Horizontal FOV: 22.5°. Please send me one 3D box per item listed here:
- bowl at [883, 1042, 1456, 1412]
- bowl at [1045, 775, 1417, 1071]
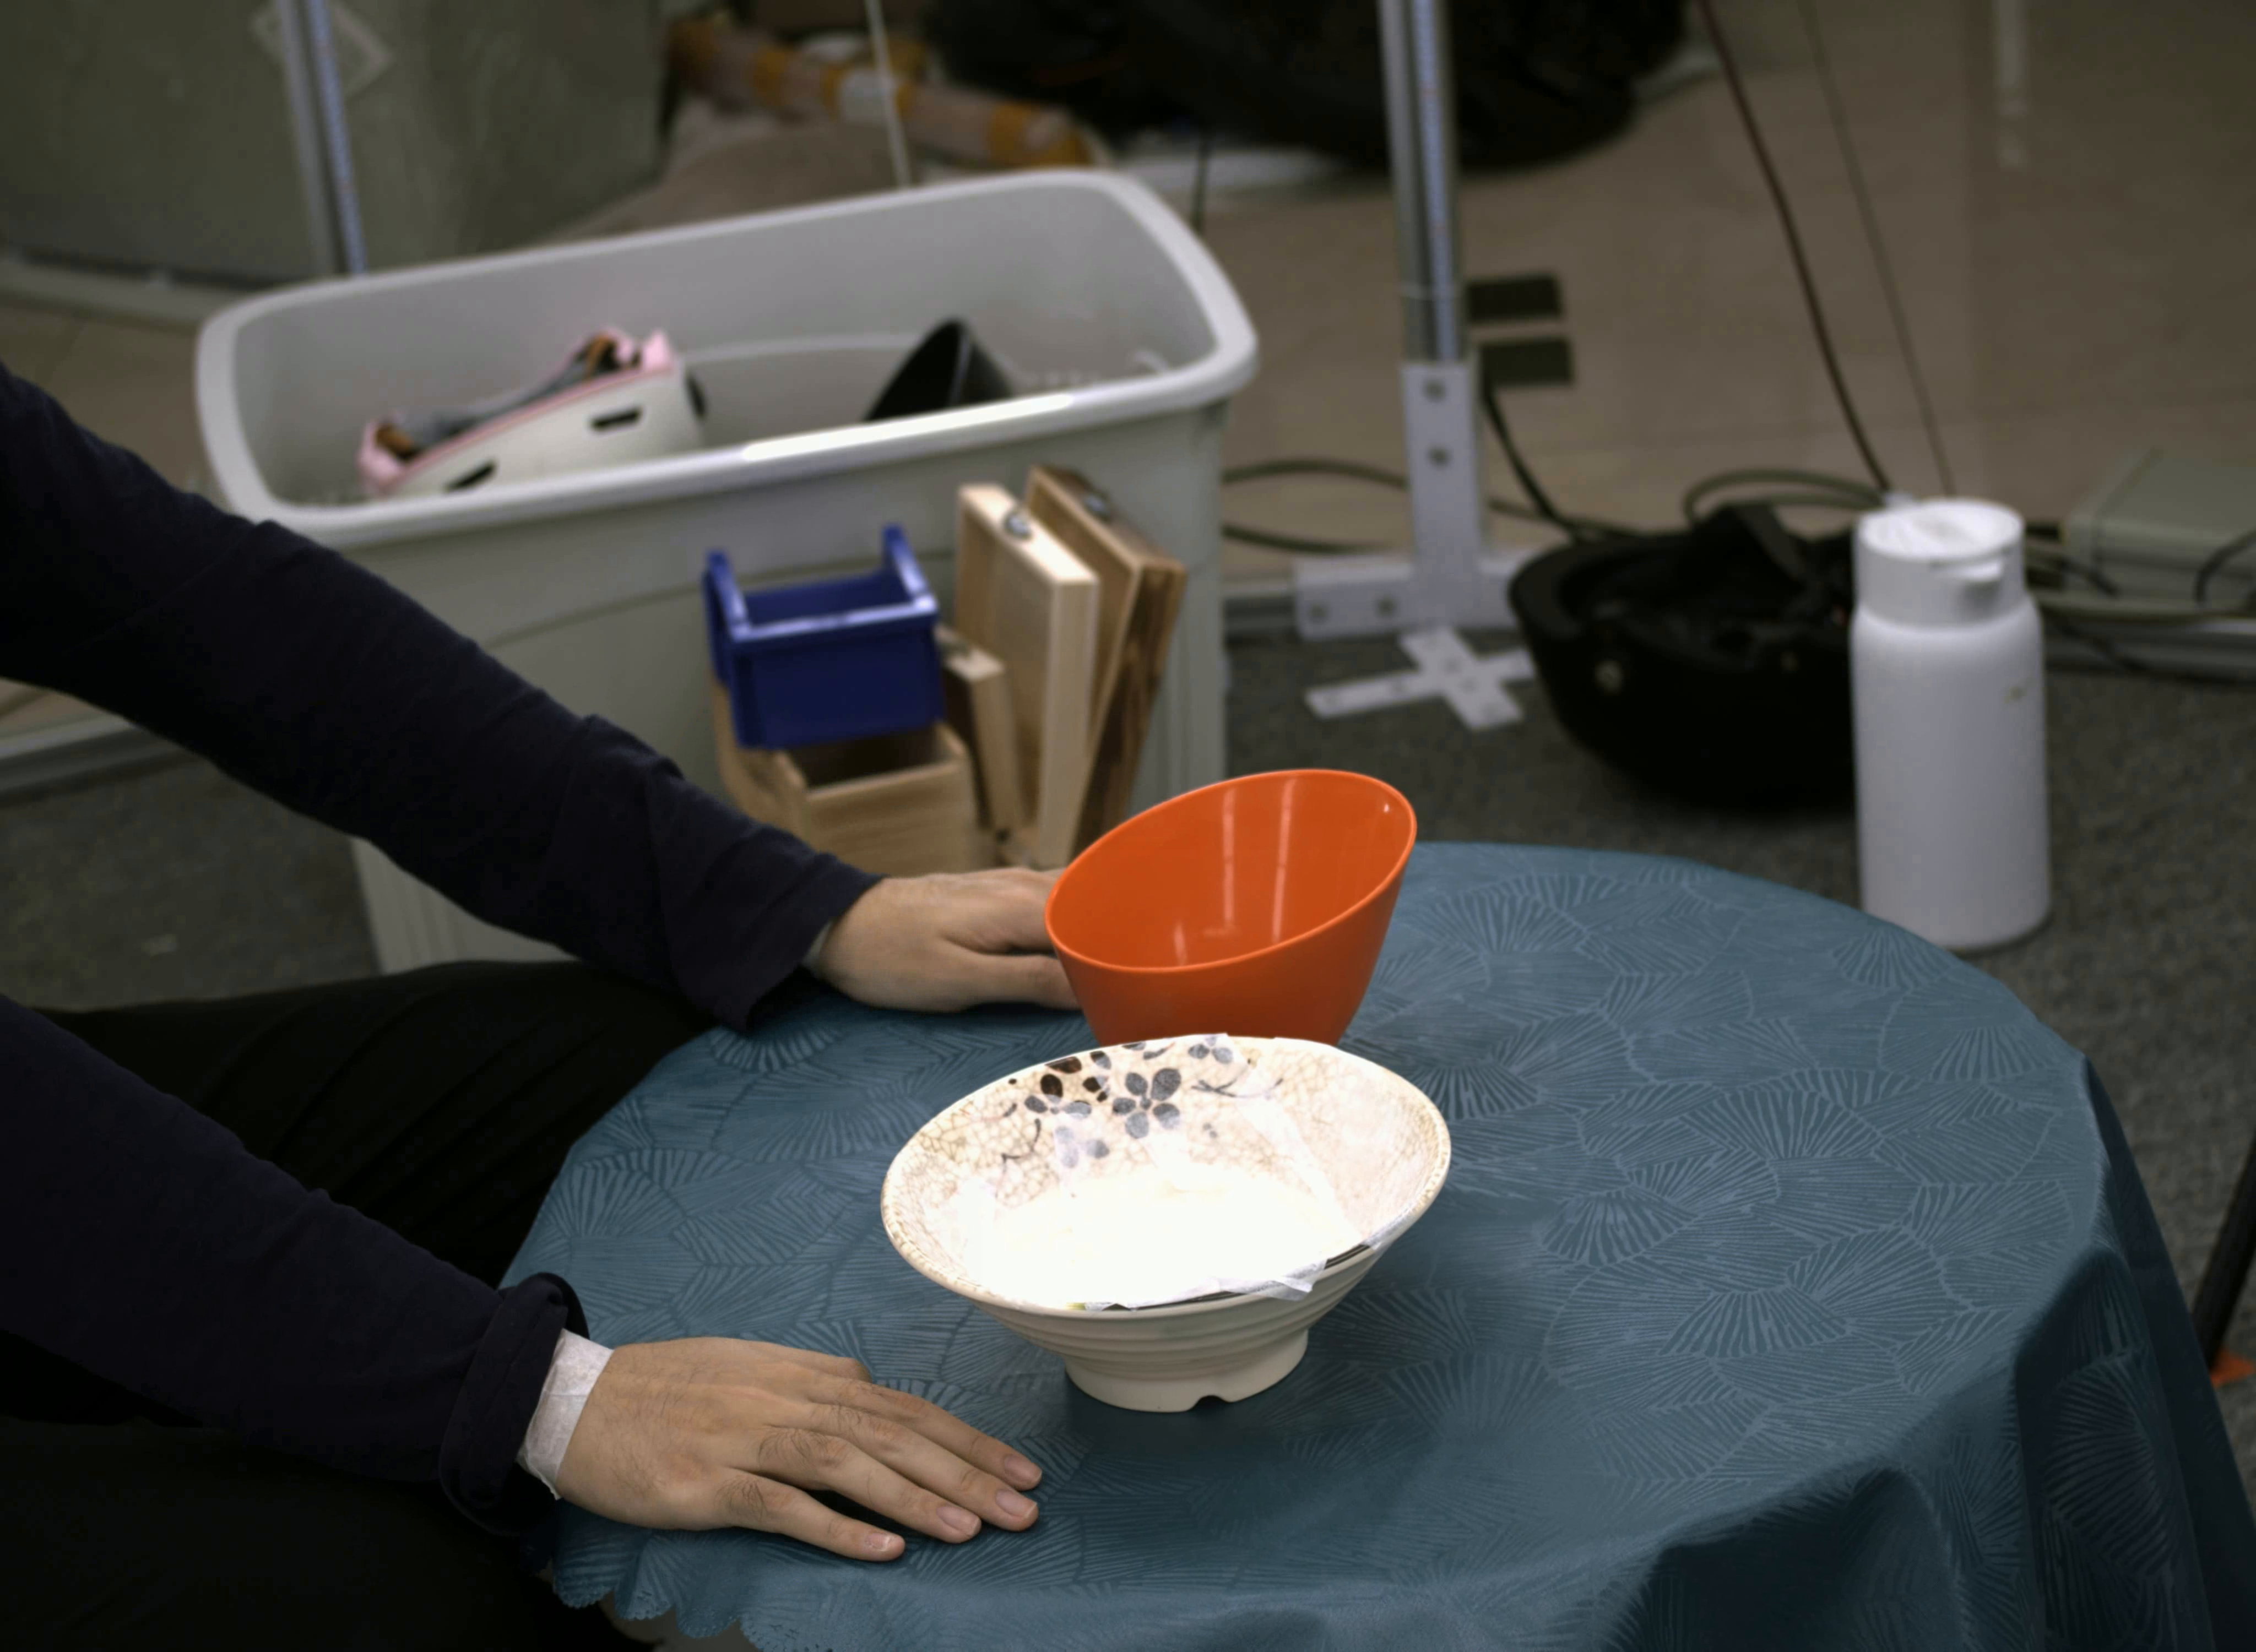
[{"bbox_3d":[0.017,0.154,2.018,0.203,0.079,0.201,-4,24,2],"label":"bowl"},{"bbox_3d":[0.045,0.055,2.203,0.148,0.106,0.146,-7,25,3],"label":"bowl"}]
